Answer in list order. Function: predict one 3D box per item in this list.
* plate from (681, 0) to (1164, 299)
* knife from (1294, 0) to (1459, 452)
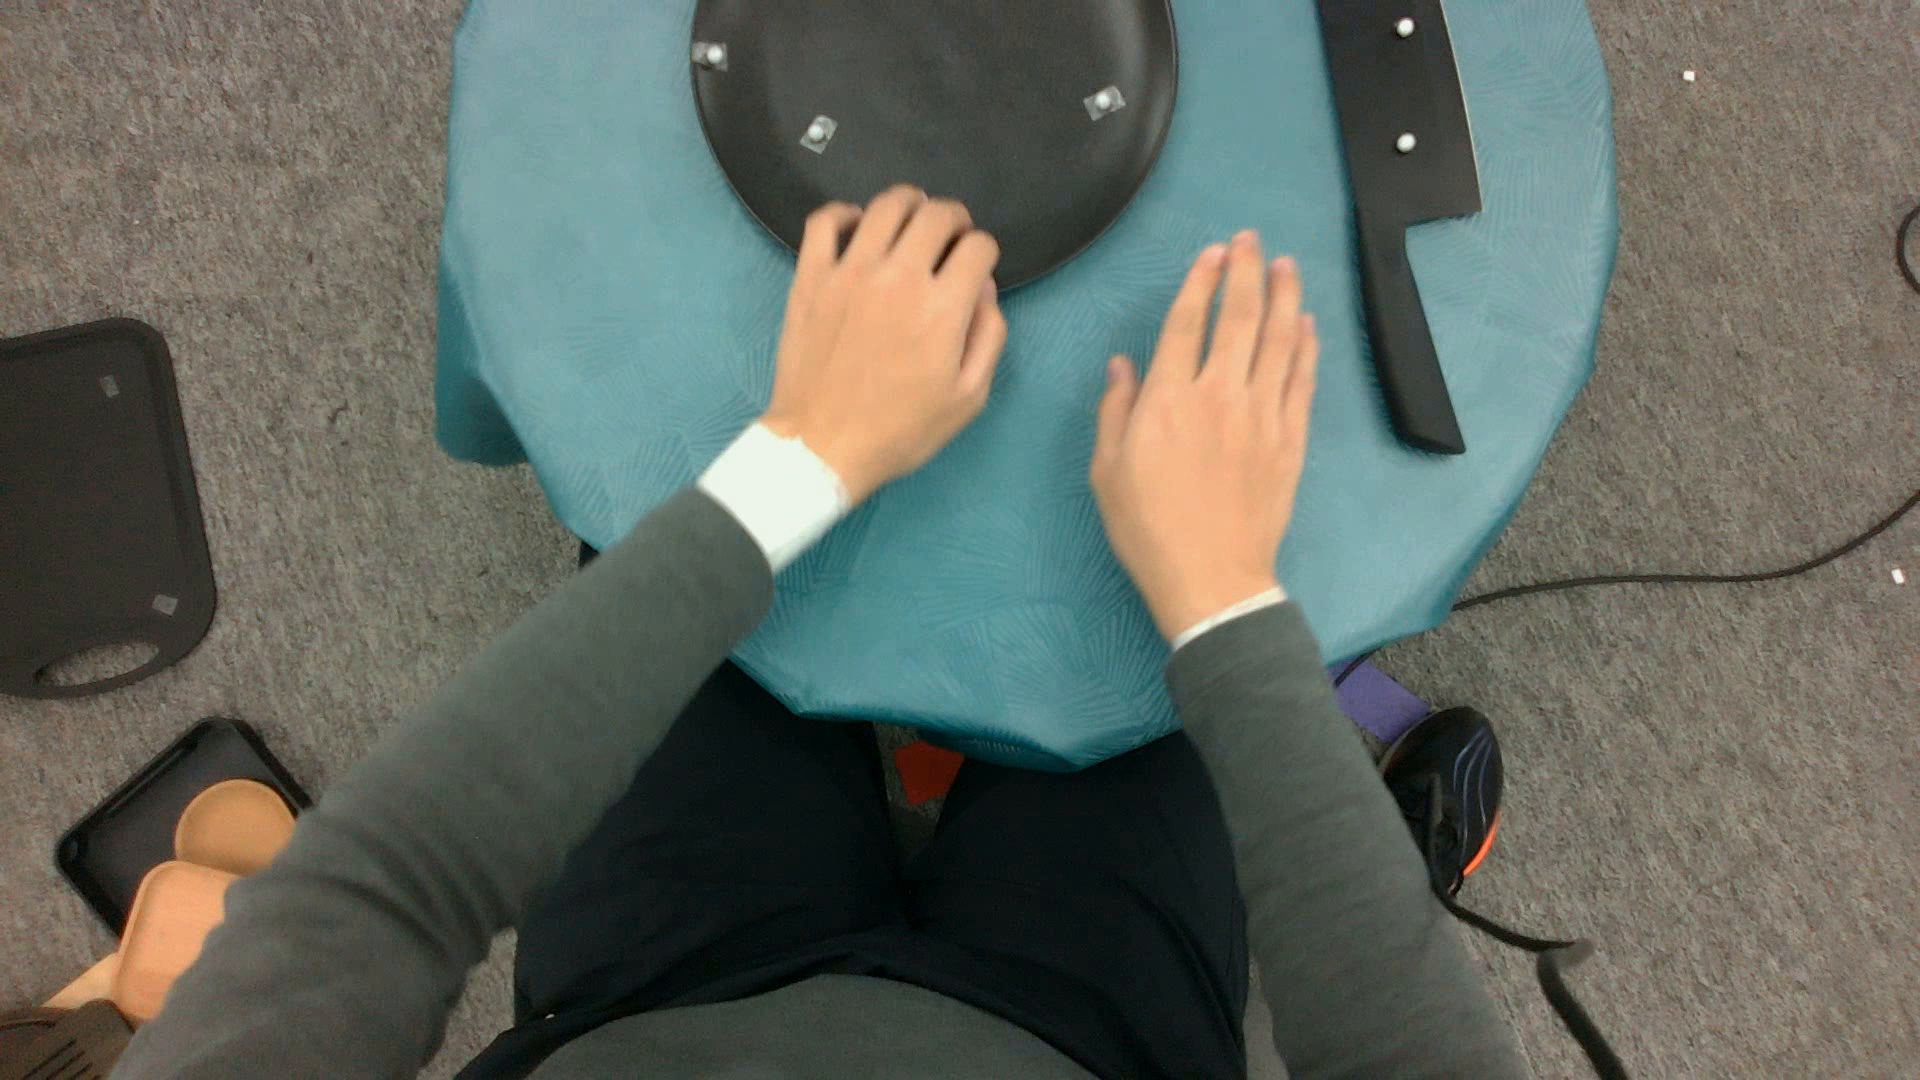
[{"bbox_3d":[-0.018,-0.239,0.701,0.244,0.023,0.244,0,83,-2],"label":"plate"},{"bbox_3d":[0.219,-0.193,0.711,0.081,0.021,0.302,-4,82,-4],"label":"knife"}]
